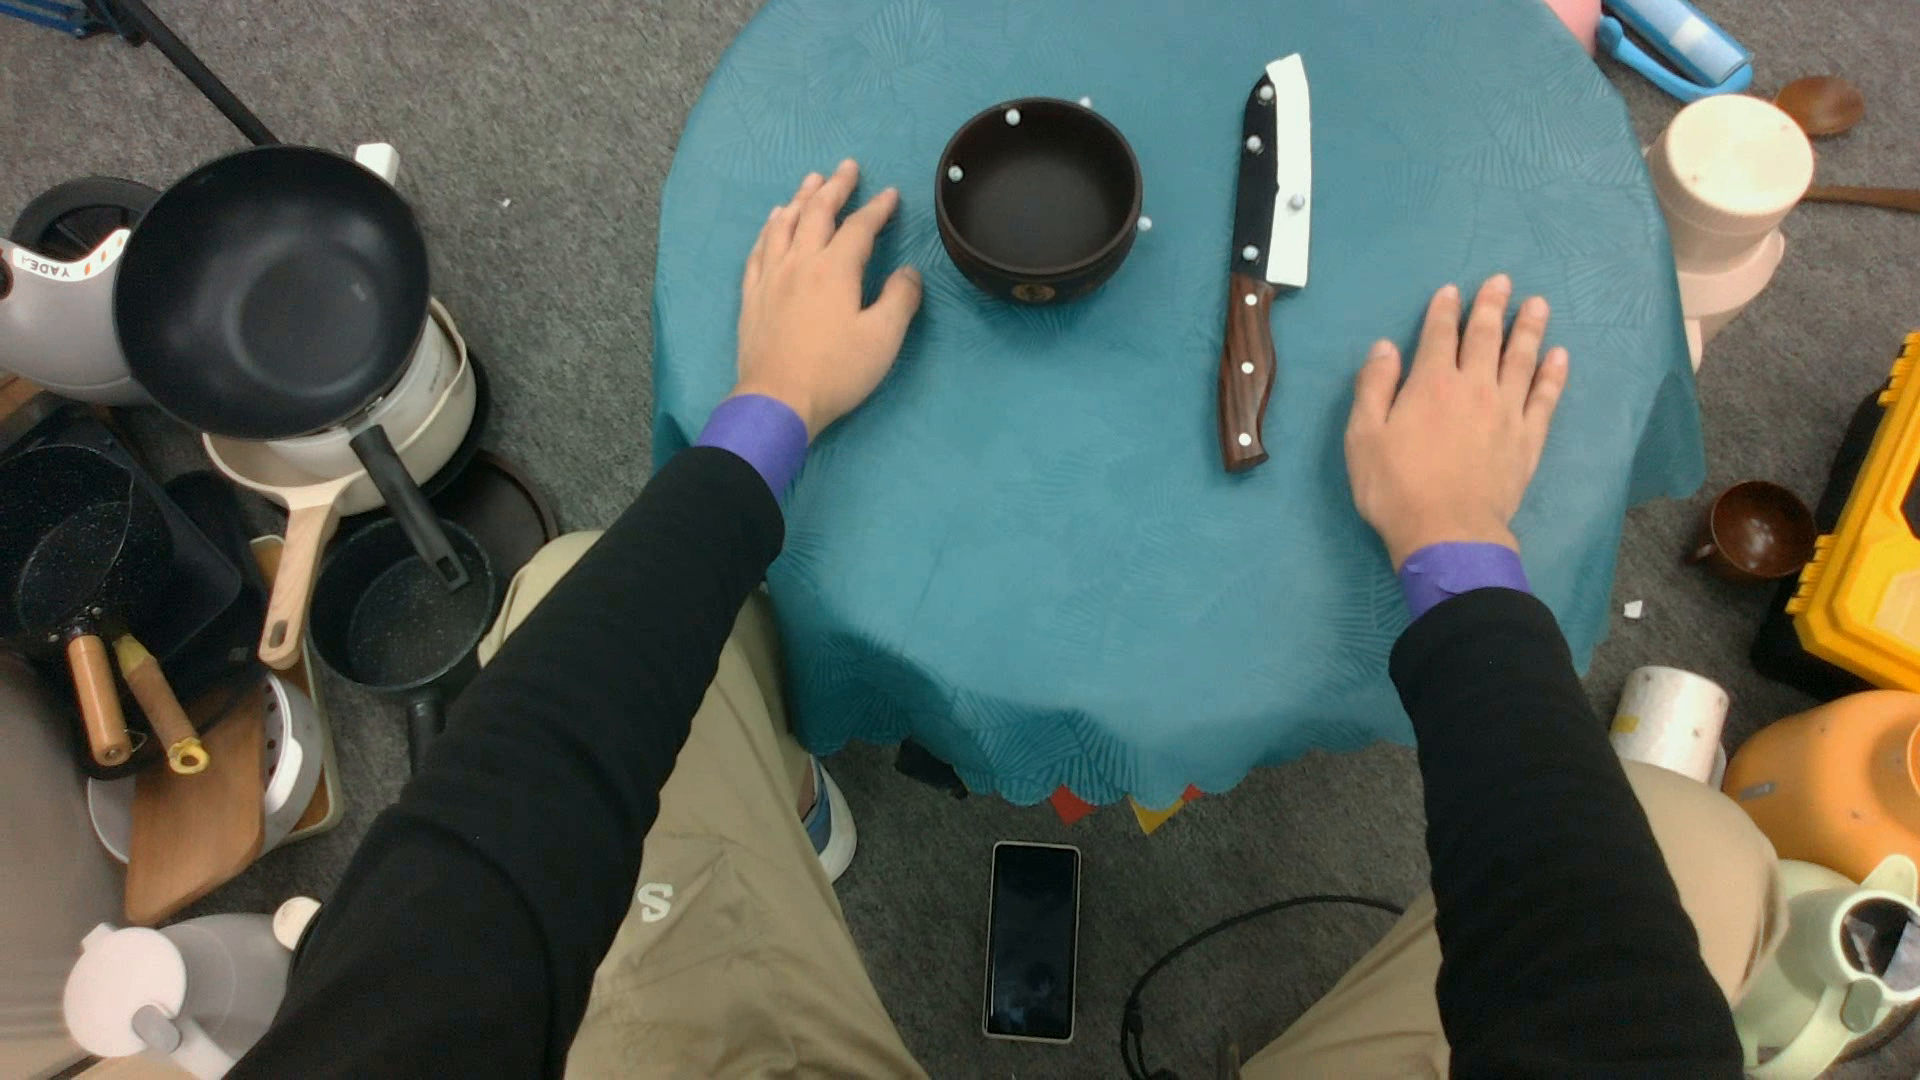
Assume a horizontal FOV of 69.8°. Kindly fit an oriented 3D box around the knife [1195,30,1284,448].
[{"bbox_3d":[0.165,-0.185,0.809,0.050,0.020,0.290,10,70,0],"label":"knife"}]

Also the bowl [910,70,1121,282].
[{"bbox_3d":[0.031,-0.200,0.787,0.118,0.069,0.118,-1,72,2],"label":"bowl"}]
